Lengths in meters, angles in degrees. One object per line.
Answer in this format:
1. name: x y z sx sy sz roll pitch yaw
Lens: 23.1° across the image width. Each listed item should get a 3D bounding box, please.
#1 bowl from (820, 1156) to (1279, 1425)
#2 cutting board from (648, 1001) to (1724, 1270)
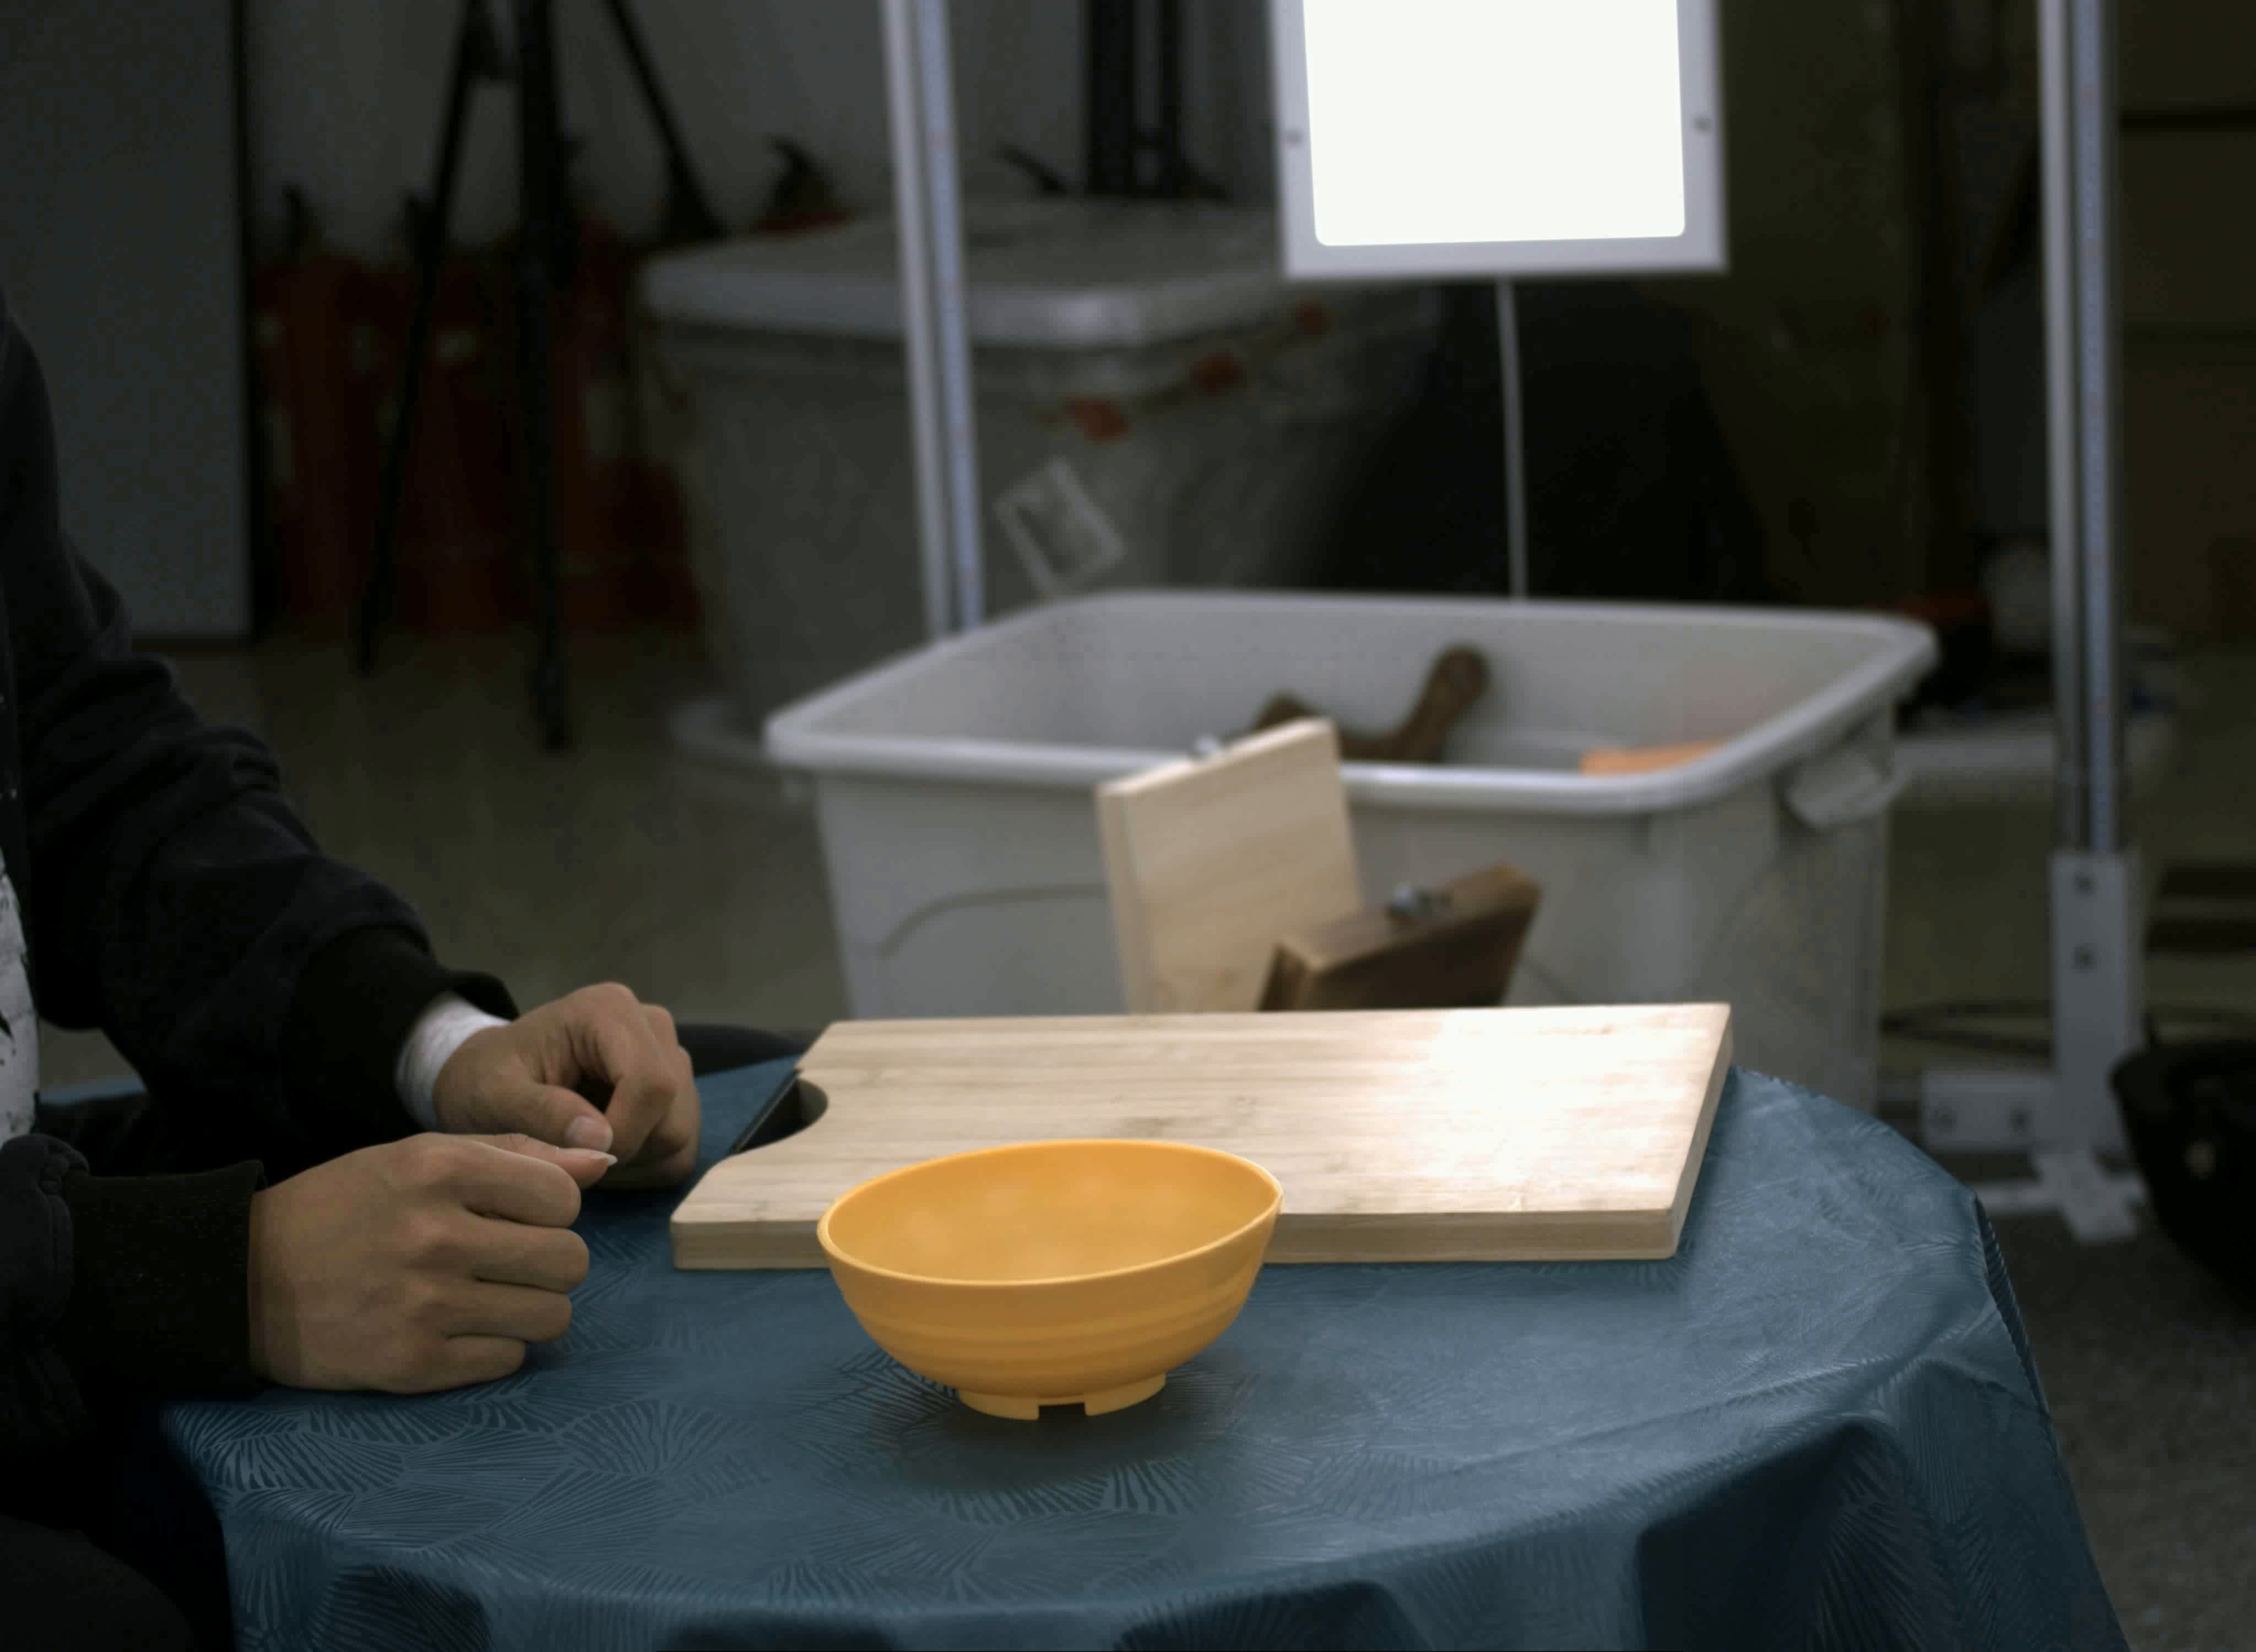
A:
1. bowl: -0.021 0.147 1.704 0.145 0.060 0.145 -6 11 0
2. cutting board: 0.028 0.108 1.931 0.351 0.023 0.248 -2 14 12
